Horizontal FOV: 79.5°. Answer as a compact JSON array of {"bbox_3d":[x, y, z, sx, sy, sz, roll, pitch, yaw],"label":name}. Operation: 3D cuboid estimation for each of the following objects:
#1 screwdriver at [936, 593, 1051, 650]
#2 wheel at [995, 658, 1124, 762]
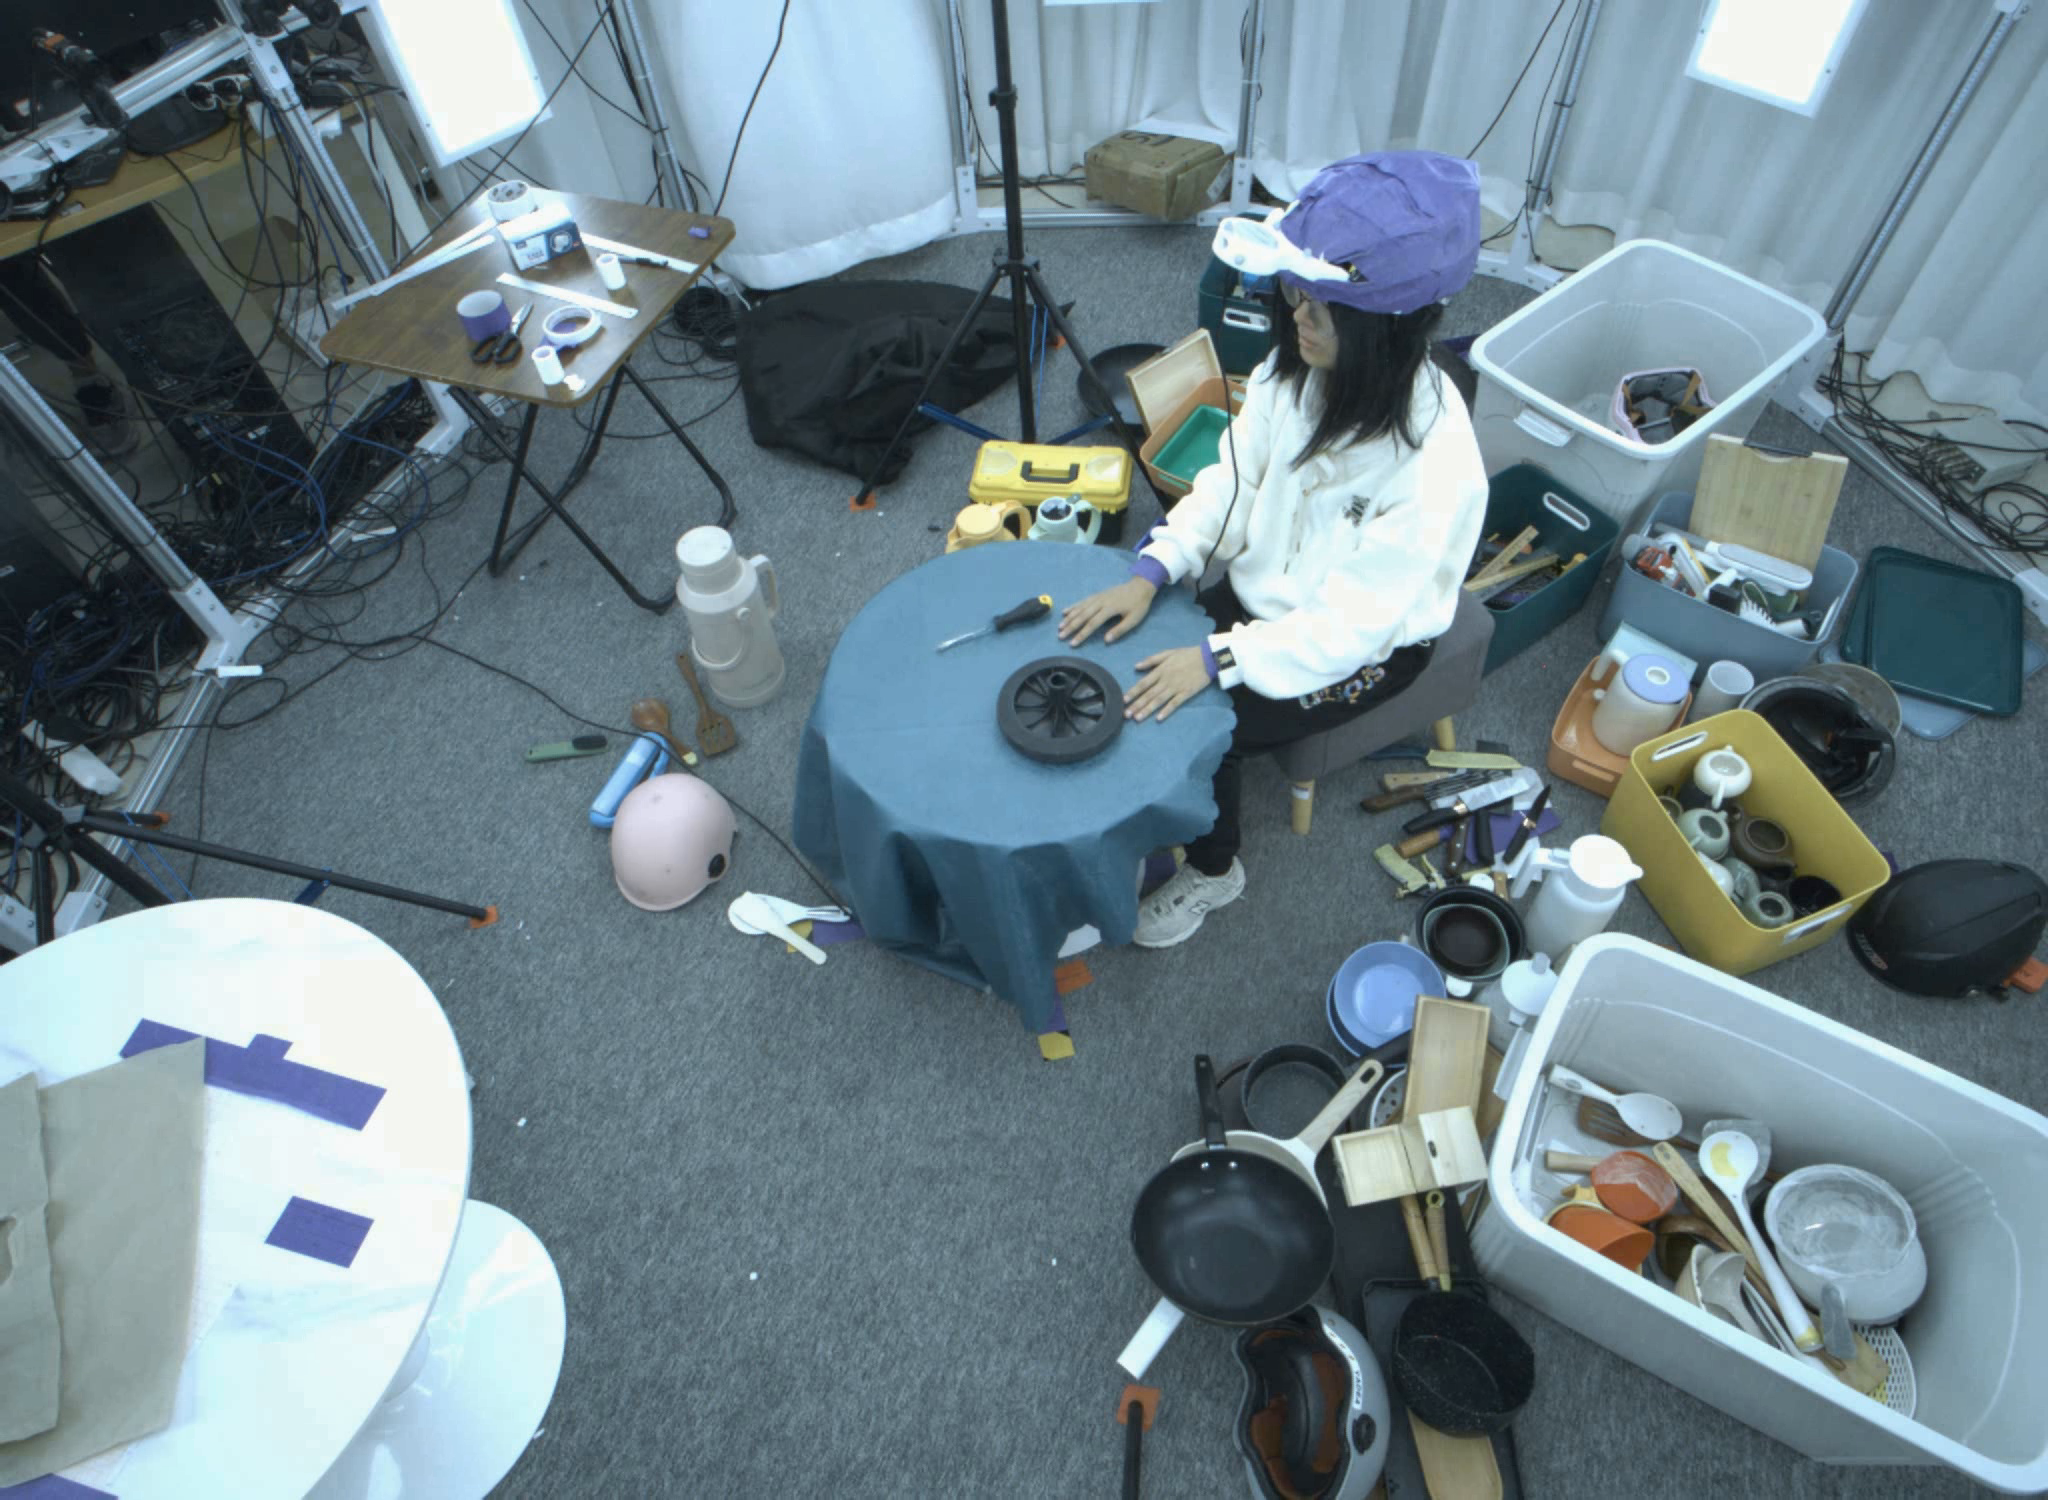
[{"bbox_3d":[-0.049,-0.201,1.917,0.199,0.032,0.031,-22,57,-10],"label":"screwdriver"},{"bbox_3d":[0.050,-0.074,1.793,0.186,0.080,0.188,29,61,24],"label":"wheel"}]
